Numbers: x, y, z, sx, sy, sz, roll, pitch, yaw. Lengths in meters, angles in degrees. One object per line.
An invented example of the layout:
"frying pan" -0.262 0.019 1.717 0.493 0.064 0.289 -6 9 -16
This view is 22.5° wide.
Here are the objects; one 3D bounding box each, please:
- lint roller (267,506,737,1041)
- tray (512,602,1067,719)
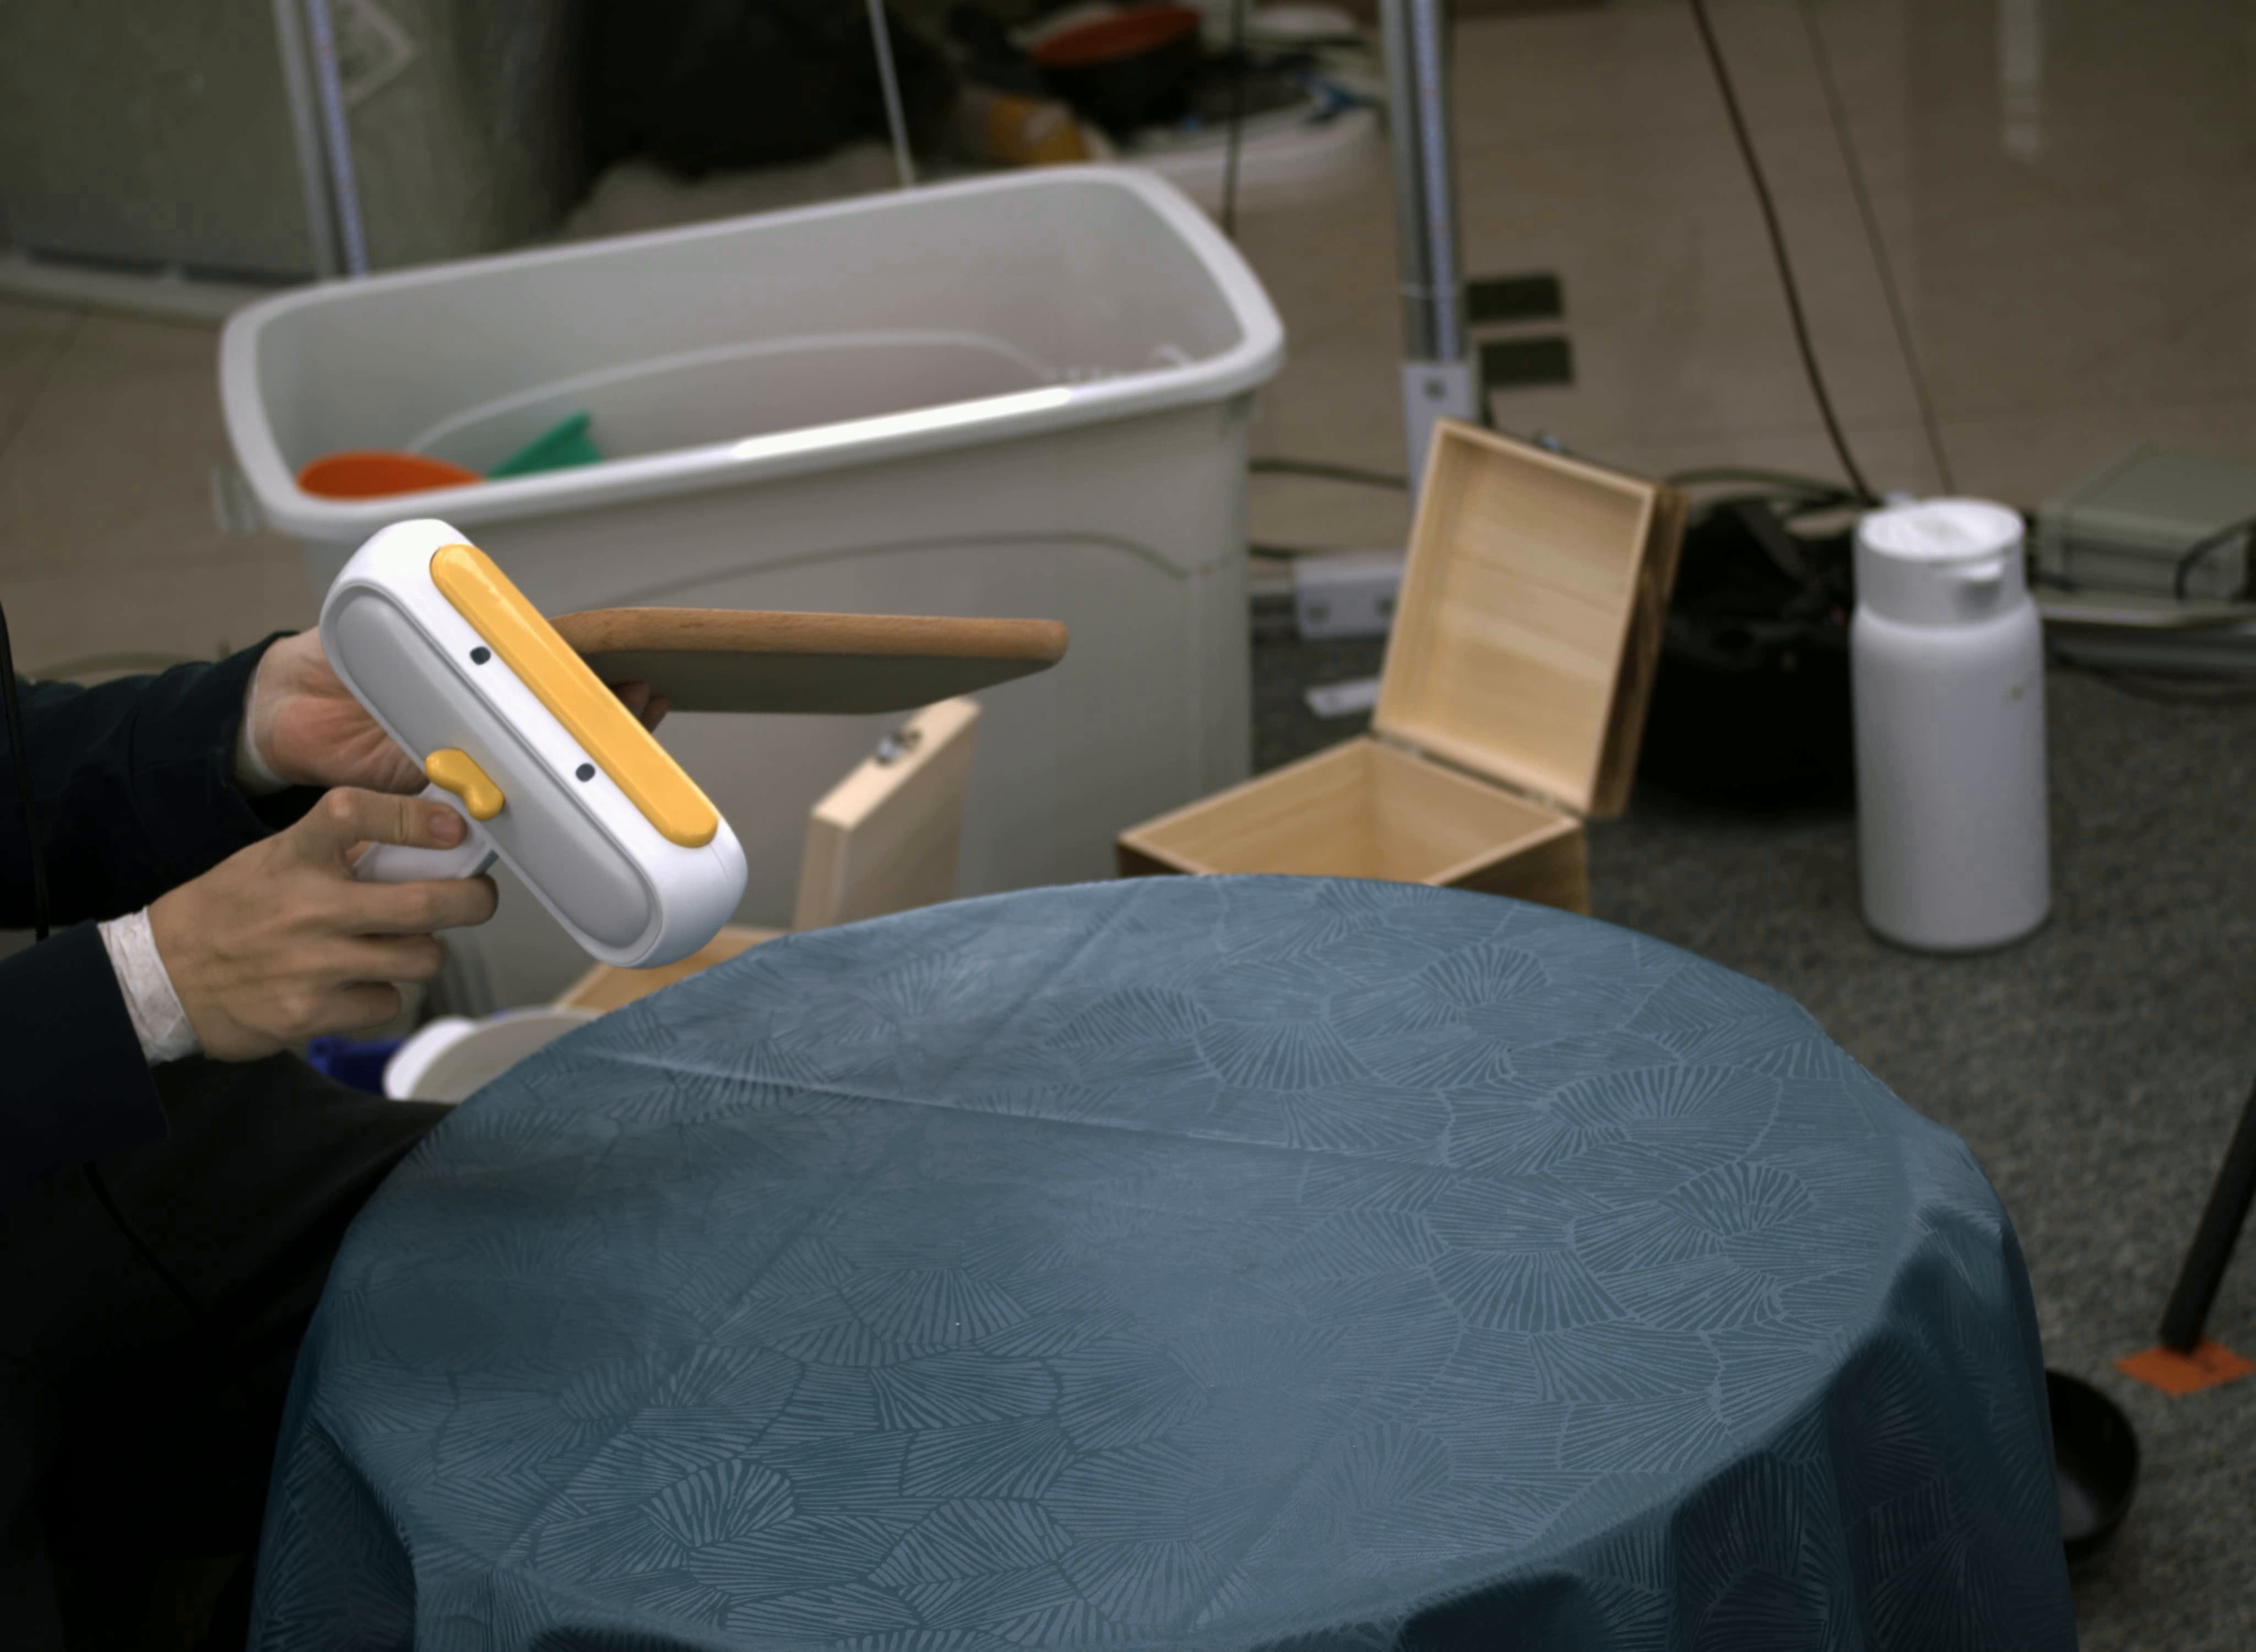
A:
"lint roller" -0.256 0.004 2.093 0.192 0.195 0.073 41 38 2
"tray" -0.146 -0.062 2.179 0.250 0.023 0.131 0 -13 -42
